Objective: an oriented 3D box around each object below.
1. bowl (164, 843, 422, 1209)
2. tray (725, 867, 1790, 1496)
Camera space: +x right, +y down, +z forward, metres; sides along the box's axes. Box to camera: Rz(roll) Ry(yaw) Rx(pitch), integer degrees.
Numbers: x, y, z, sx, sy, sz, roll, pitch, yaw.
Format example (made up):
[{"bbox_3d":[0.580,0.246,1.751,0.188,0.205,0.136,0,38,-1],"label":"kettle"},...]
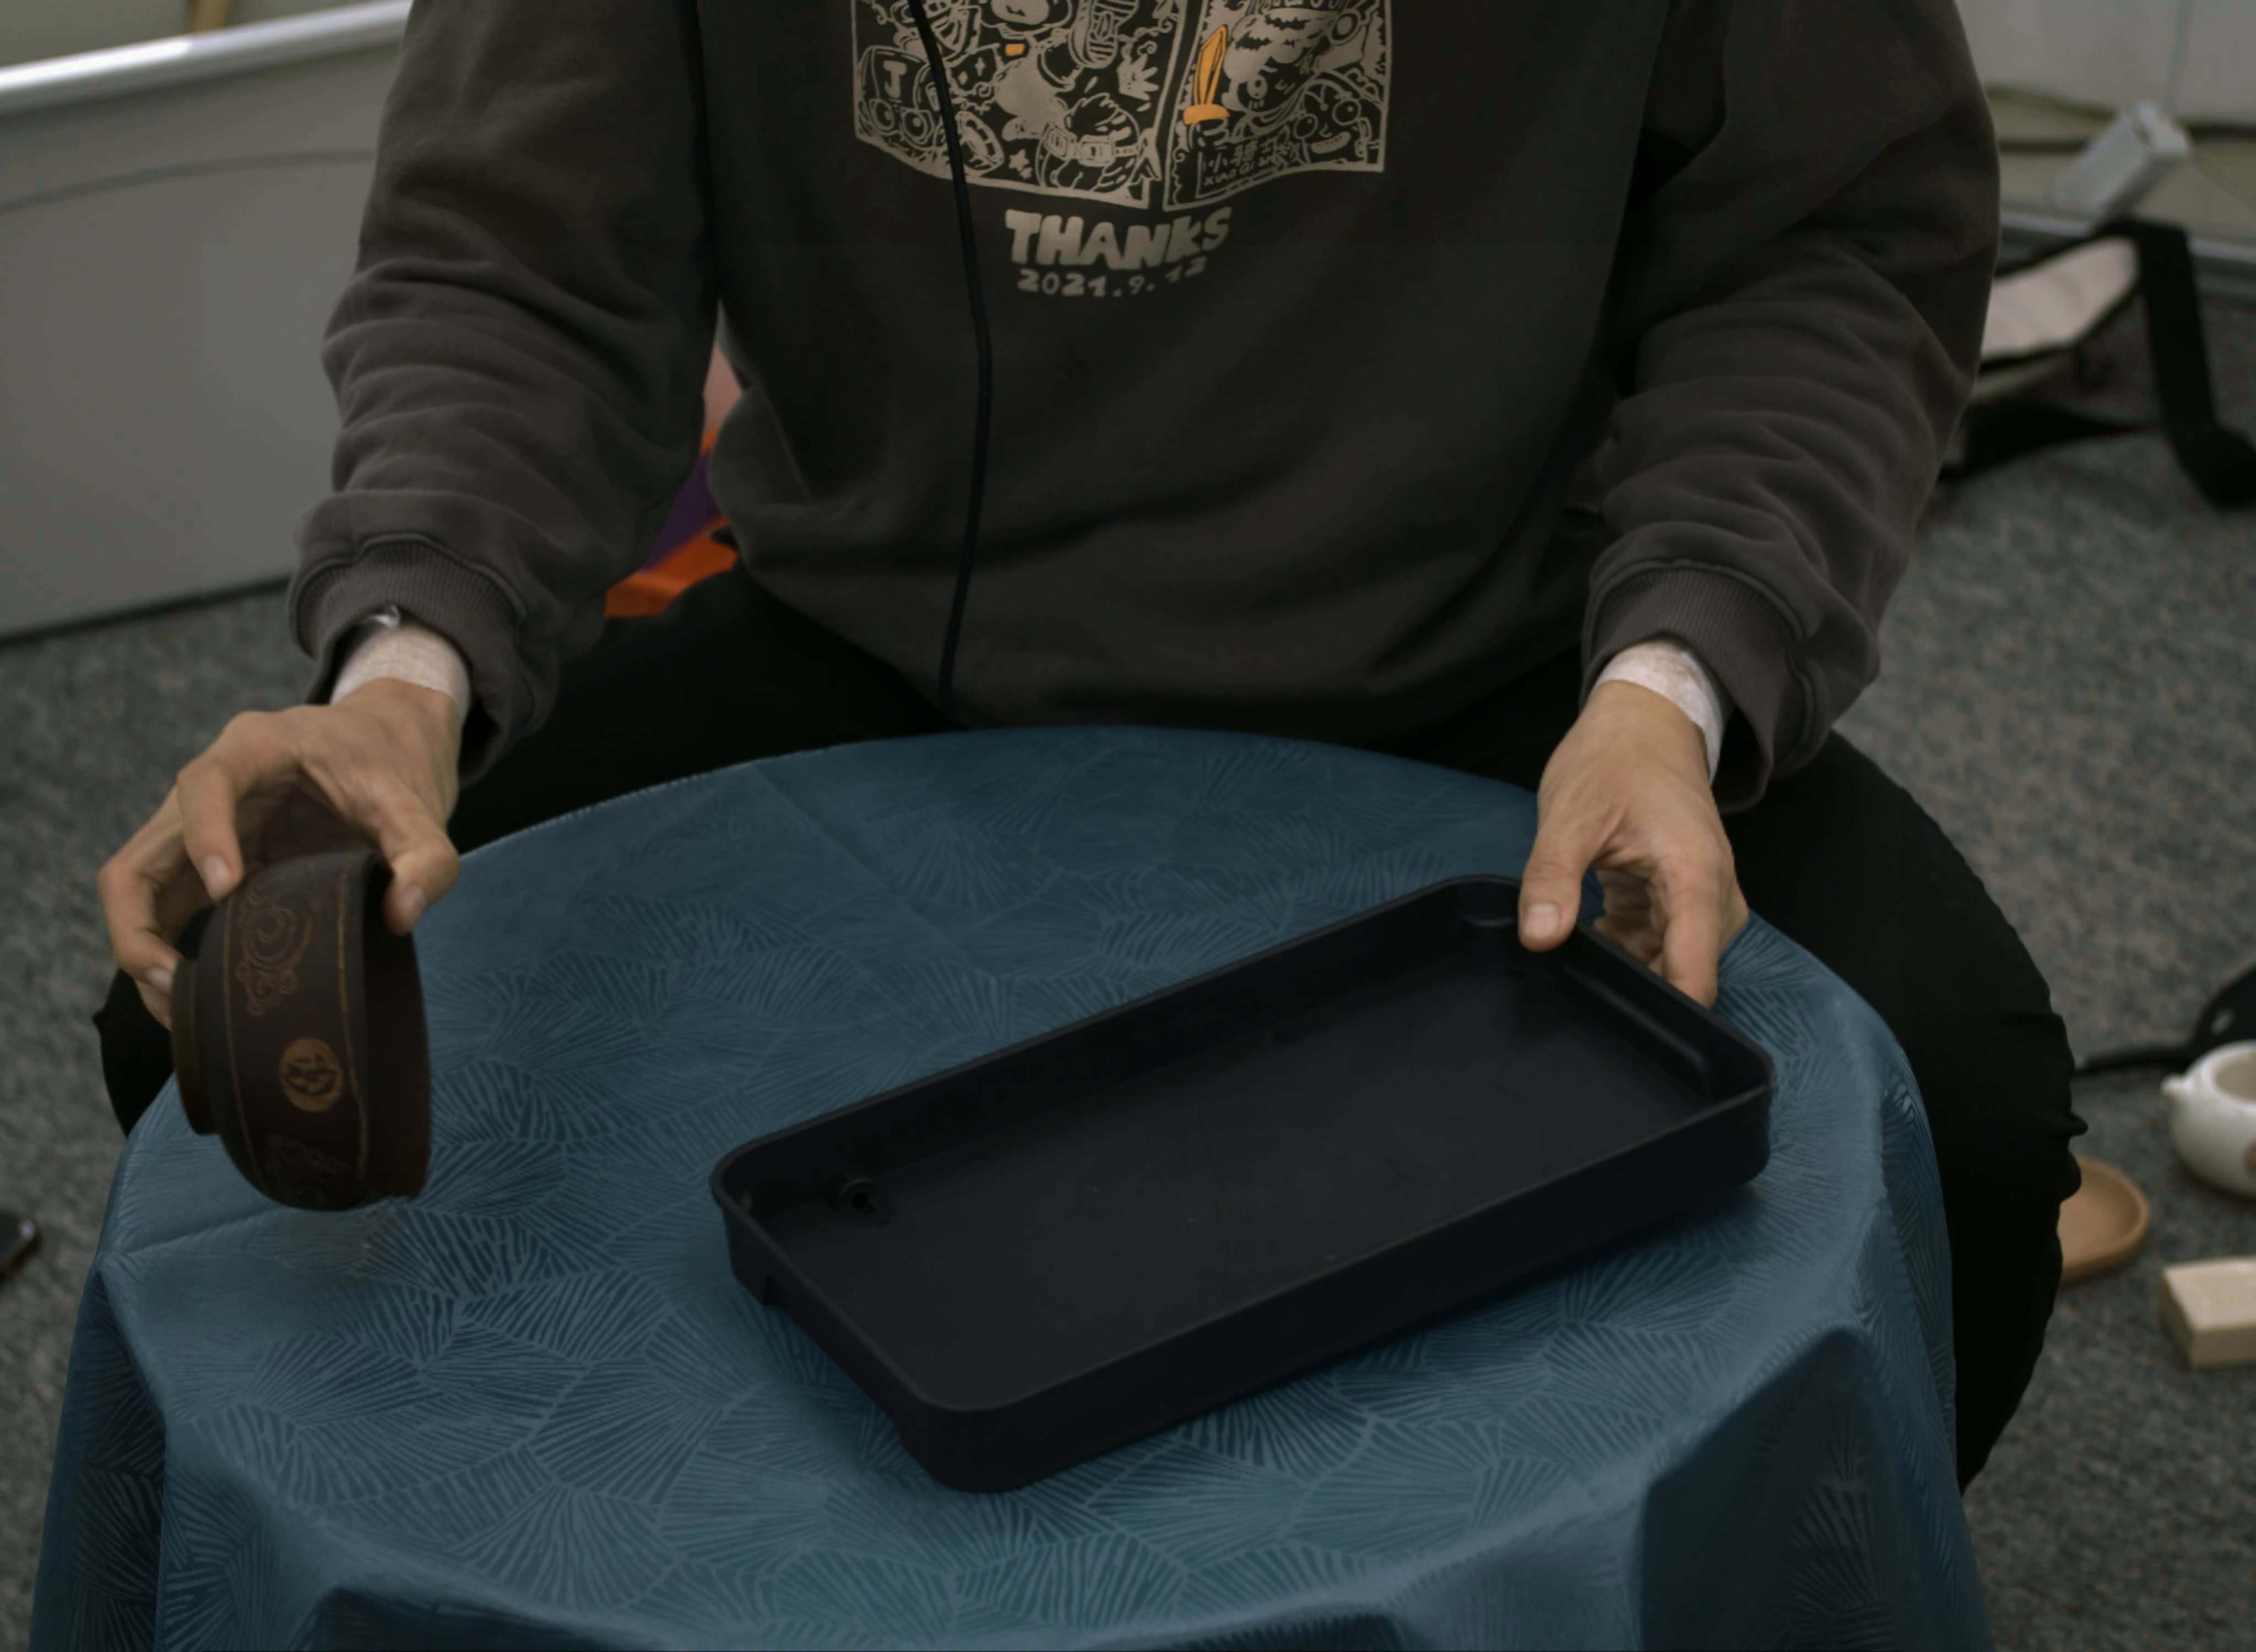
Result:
[{"bbox_3d":[-0.272,0.067,1.818,0.069,0.117,0.120,-6,27,0],"label":"bowl"},{"bbox_3d":[0.043,0.110,1.829,0.320,0.036,0.185,-21,32,-26],"label":"tray"}]
